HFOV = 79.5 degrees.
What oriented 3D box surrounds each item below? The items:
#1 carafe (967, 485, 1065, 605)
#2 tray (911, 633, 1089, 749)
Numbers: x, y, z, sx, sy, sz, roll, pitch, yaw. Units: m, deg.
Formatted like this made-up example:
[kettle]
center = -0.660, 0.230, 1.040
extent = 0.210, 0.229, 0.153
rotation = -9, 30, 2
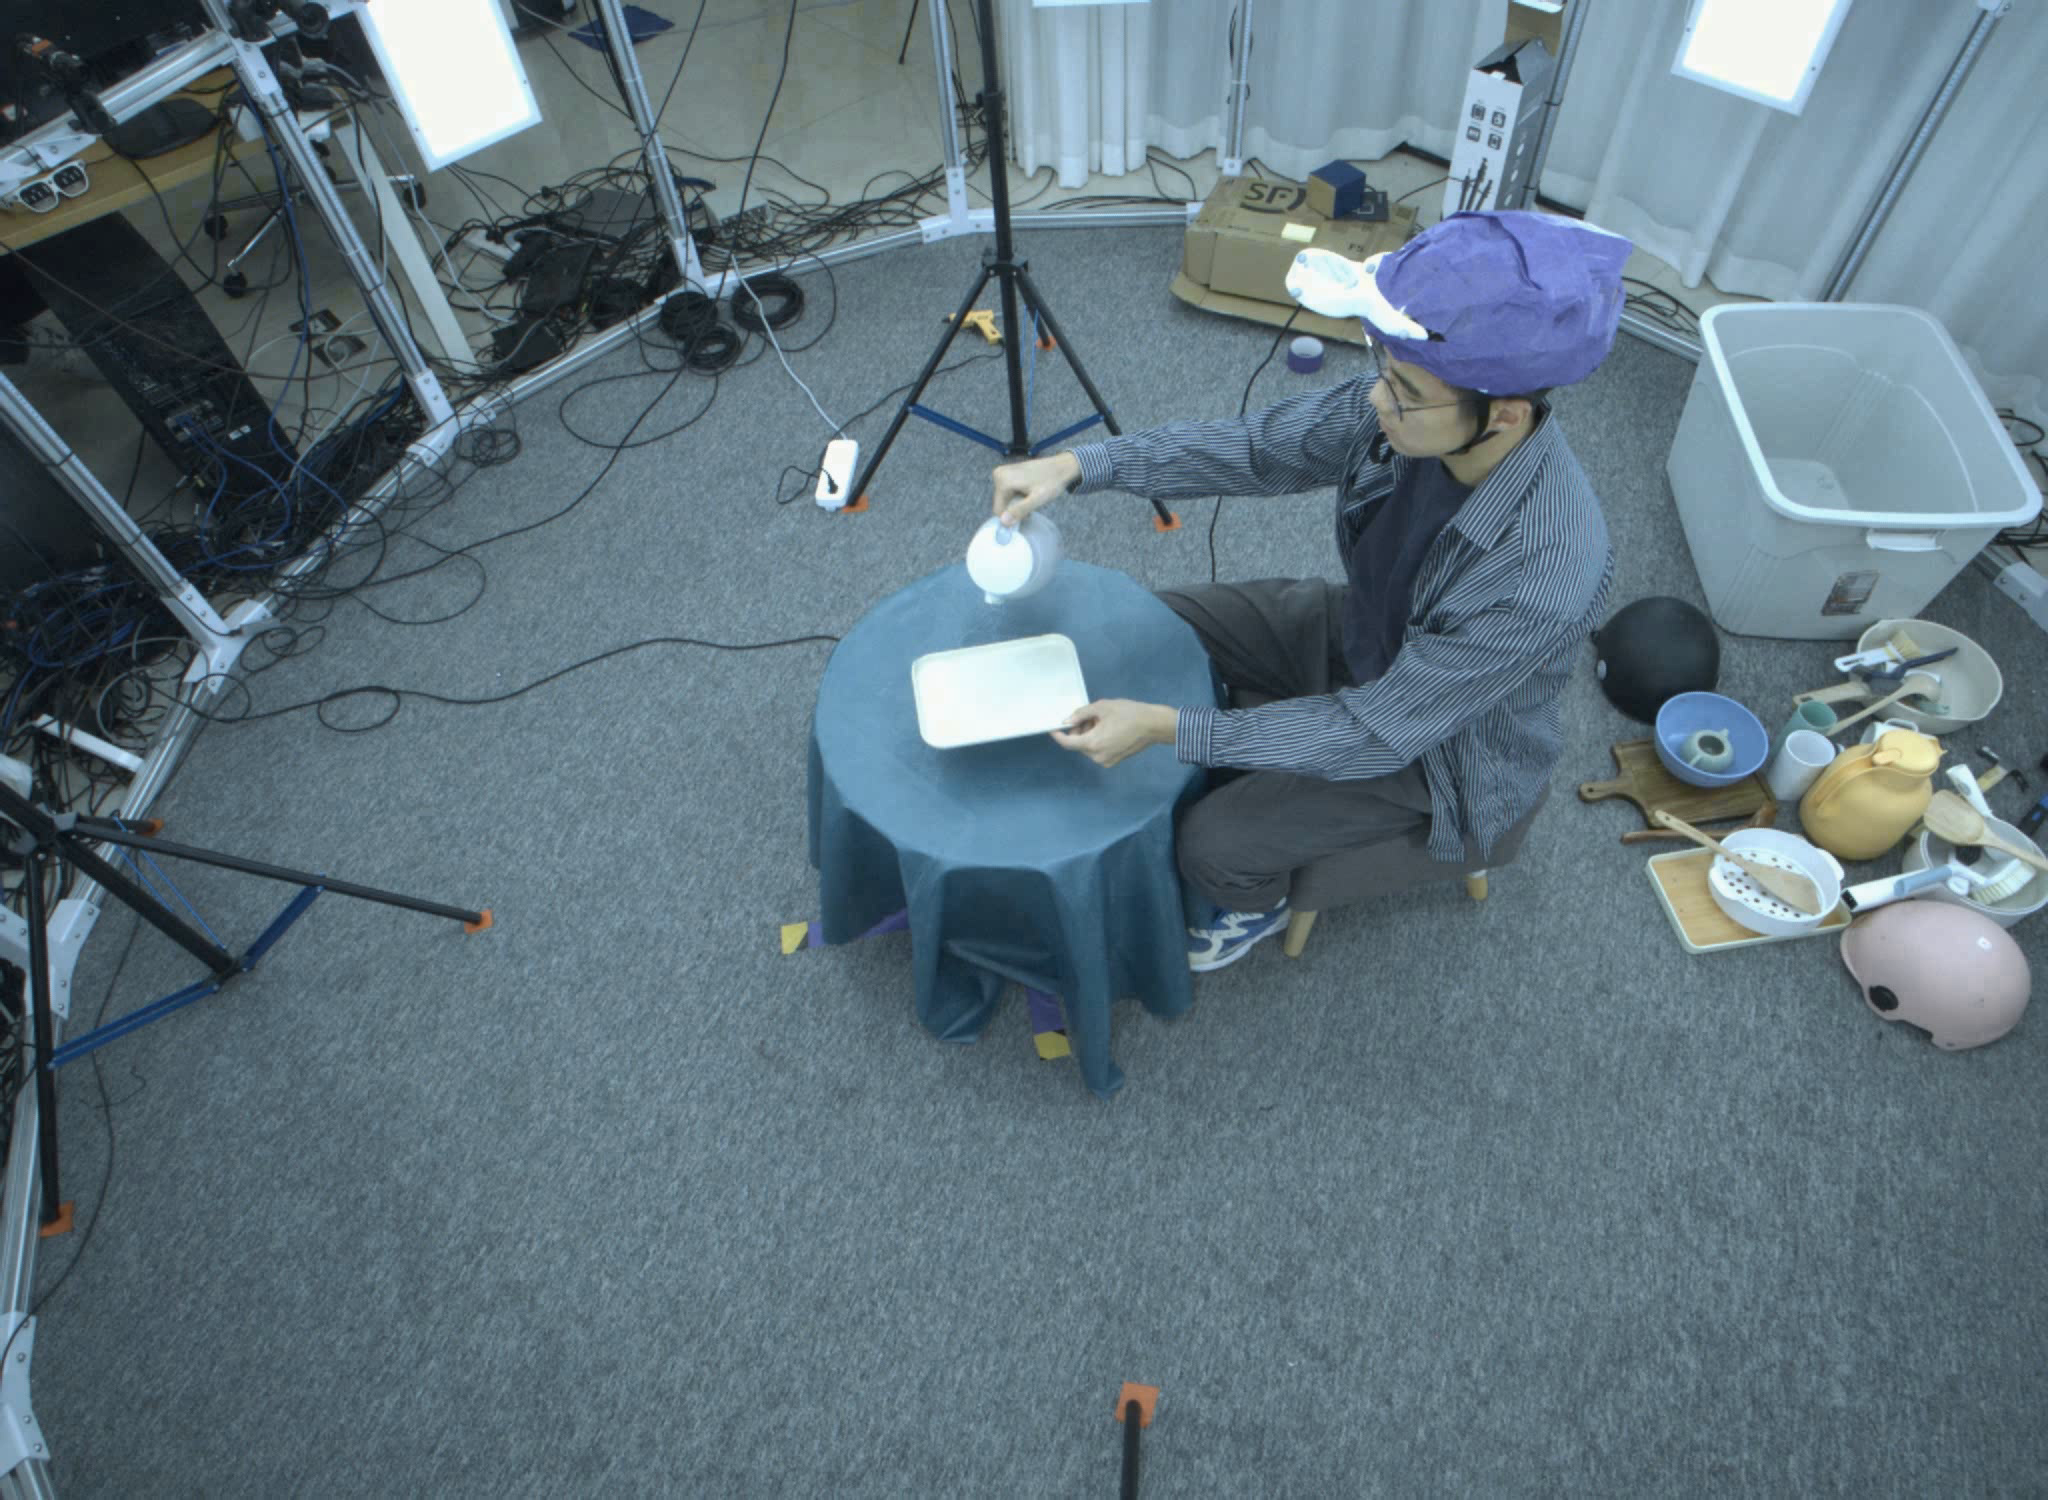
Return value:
[carafe]
center = -0.018, -0.300, 1.774
extent = 0.132, 0.168, 0.249
rotation = 9, 12, 6
[tray]
center = -0.036, -0.084, 1.749
extent = 0.240, 0.017, 0.169
rotation = -9, 57, -5
